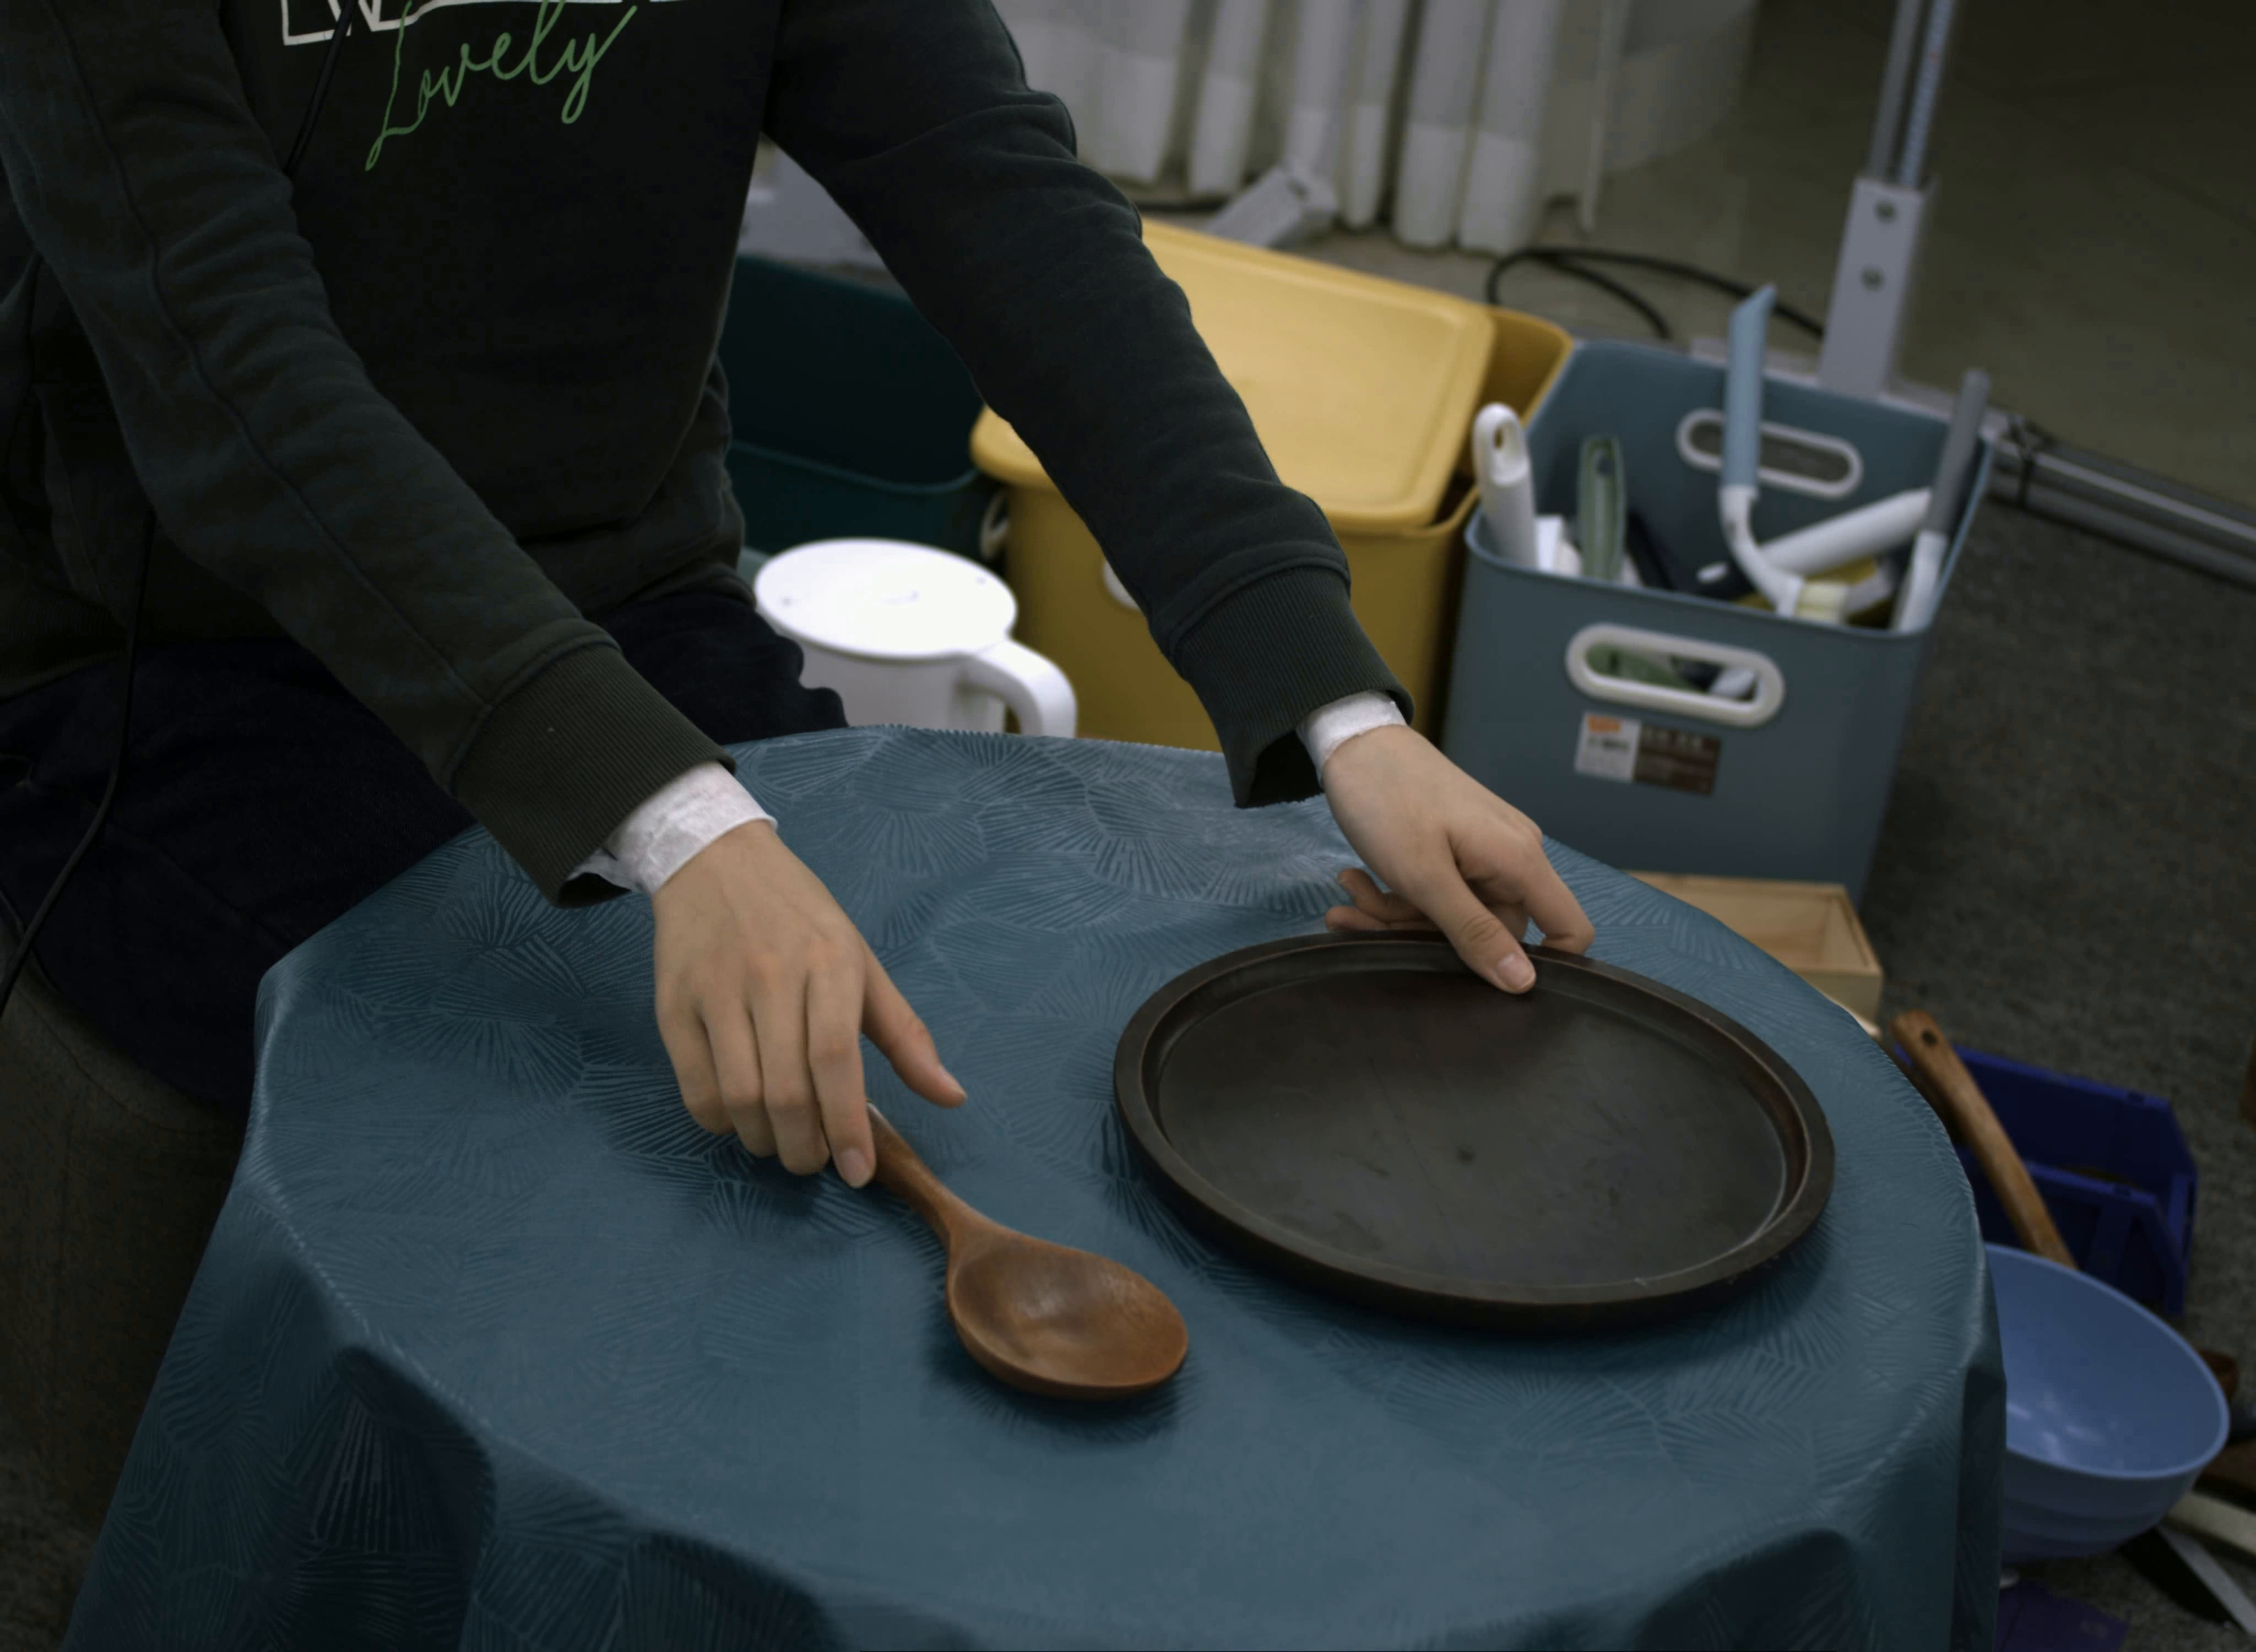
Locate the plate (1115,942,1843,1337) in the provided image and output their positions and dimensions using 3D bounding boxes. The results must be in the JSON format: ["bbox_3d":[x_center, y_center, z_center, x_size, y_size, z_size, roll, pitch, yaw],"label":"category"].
[{"bbox_3d":[0.120,0.106,1.838,0.254,0.029,0.256,6,27,-3],"label":"plate"}]

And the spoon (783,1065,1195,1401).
[{"bbox_3d":[-0.053,0.134,1.749,0.075,0.017,0.218,-11,32,-31],"label":"spoon"}]
